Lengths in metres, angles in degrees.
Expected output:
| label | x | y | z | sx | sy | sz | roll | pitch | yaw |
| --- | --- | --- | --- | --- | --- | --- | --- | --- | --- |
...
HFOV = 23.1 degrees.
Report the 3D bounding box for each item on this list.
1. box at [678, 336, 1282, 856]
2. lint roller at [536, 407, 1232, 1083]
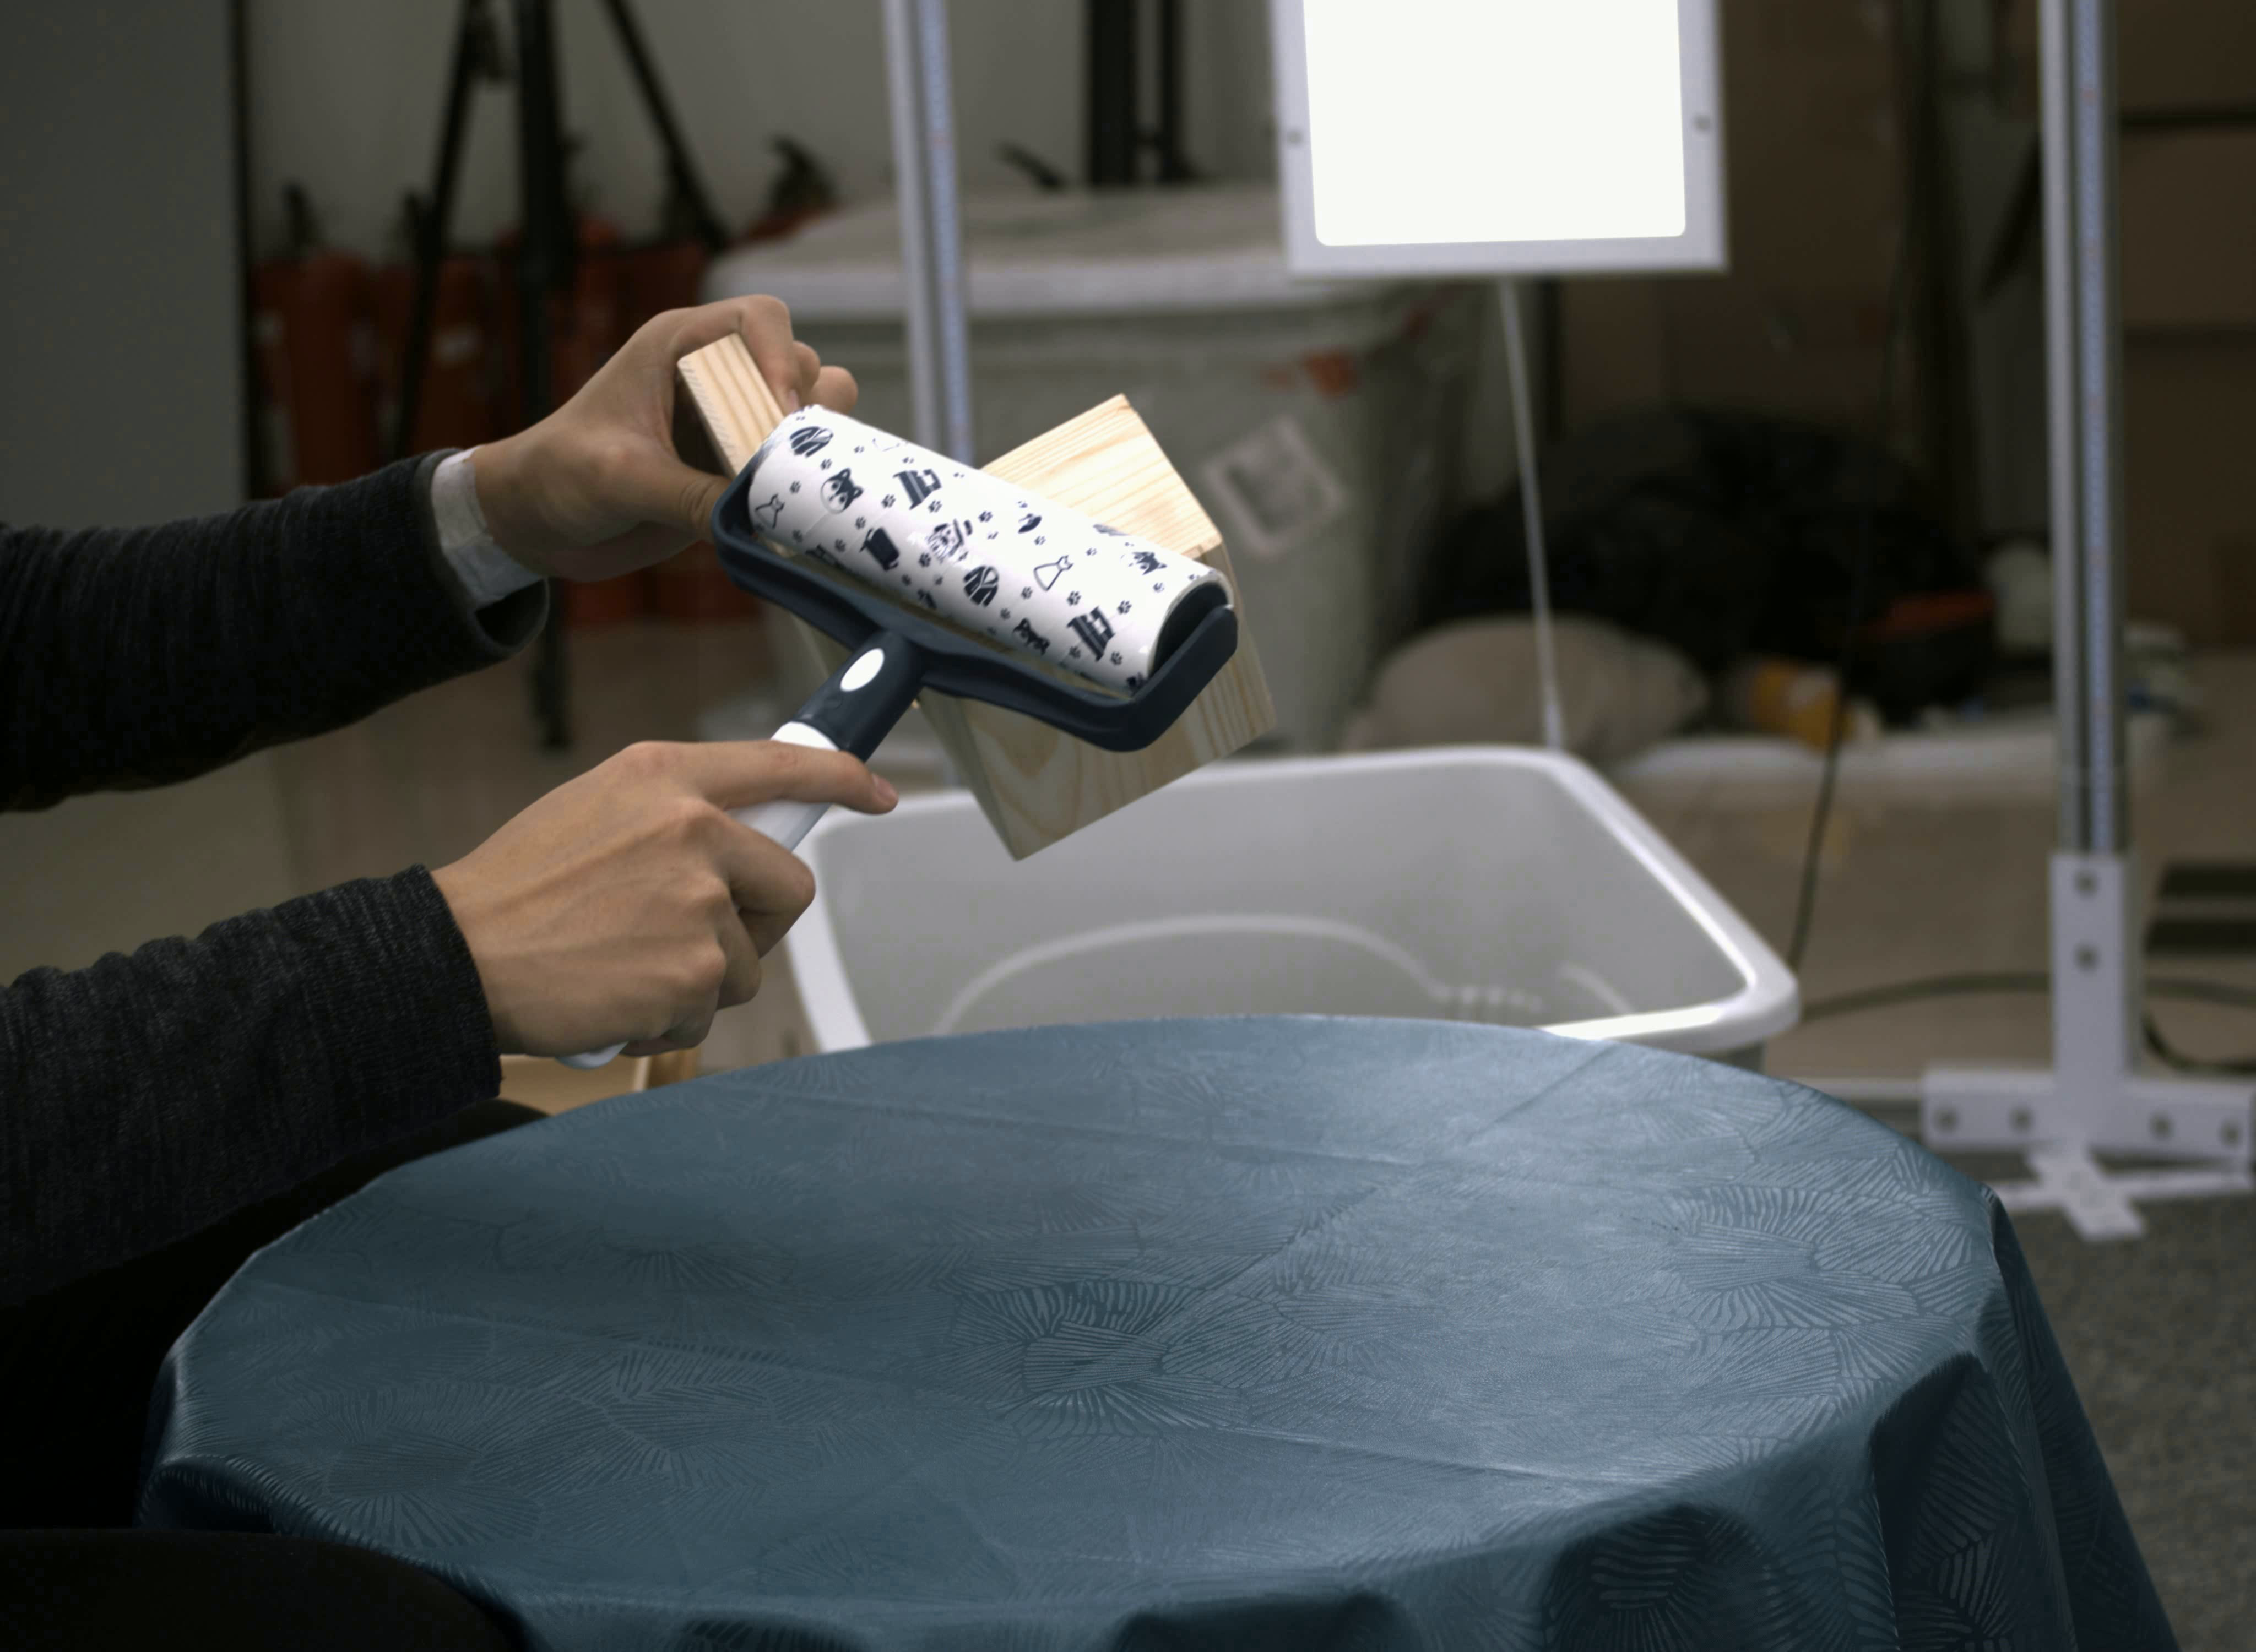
| label | x | y | z | sx | sy | sz | roll | pitch | yaw |
| --- | --- | --- | --- | --- | --- | --- | --- | --- | --- |
| box | -0.049 | -0.098 | 1.856 | 0.133 | 0.102 | 0.186 | -29 | 52 | -5 |
| lint roller | -0.102 | -0.017 | 1.707 | 0.179 | 0.050 | 0.243 | 24 | 59 | 28 |
